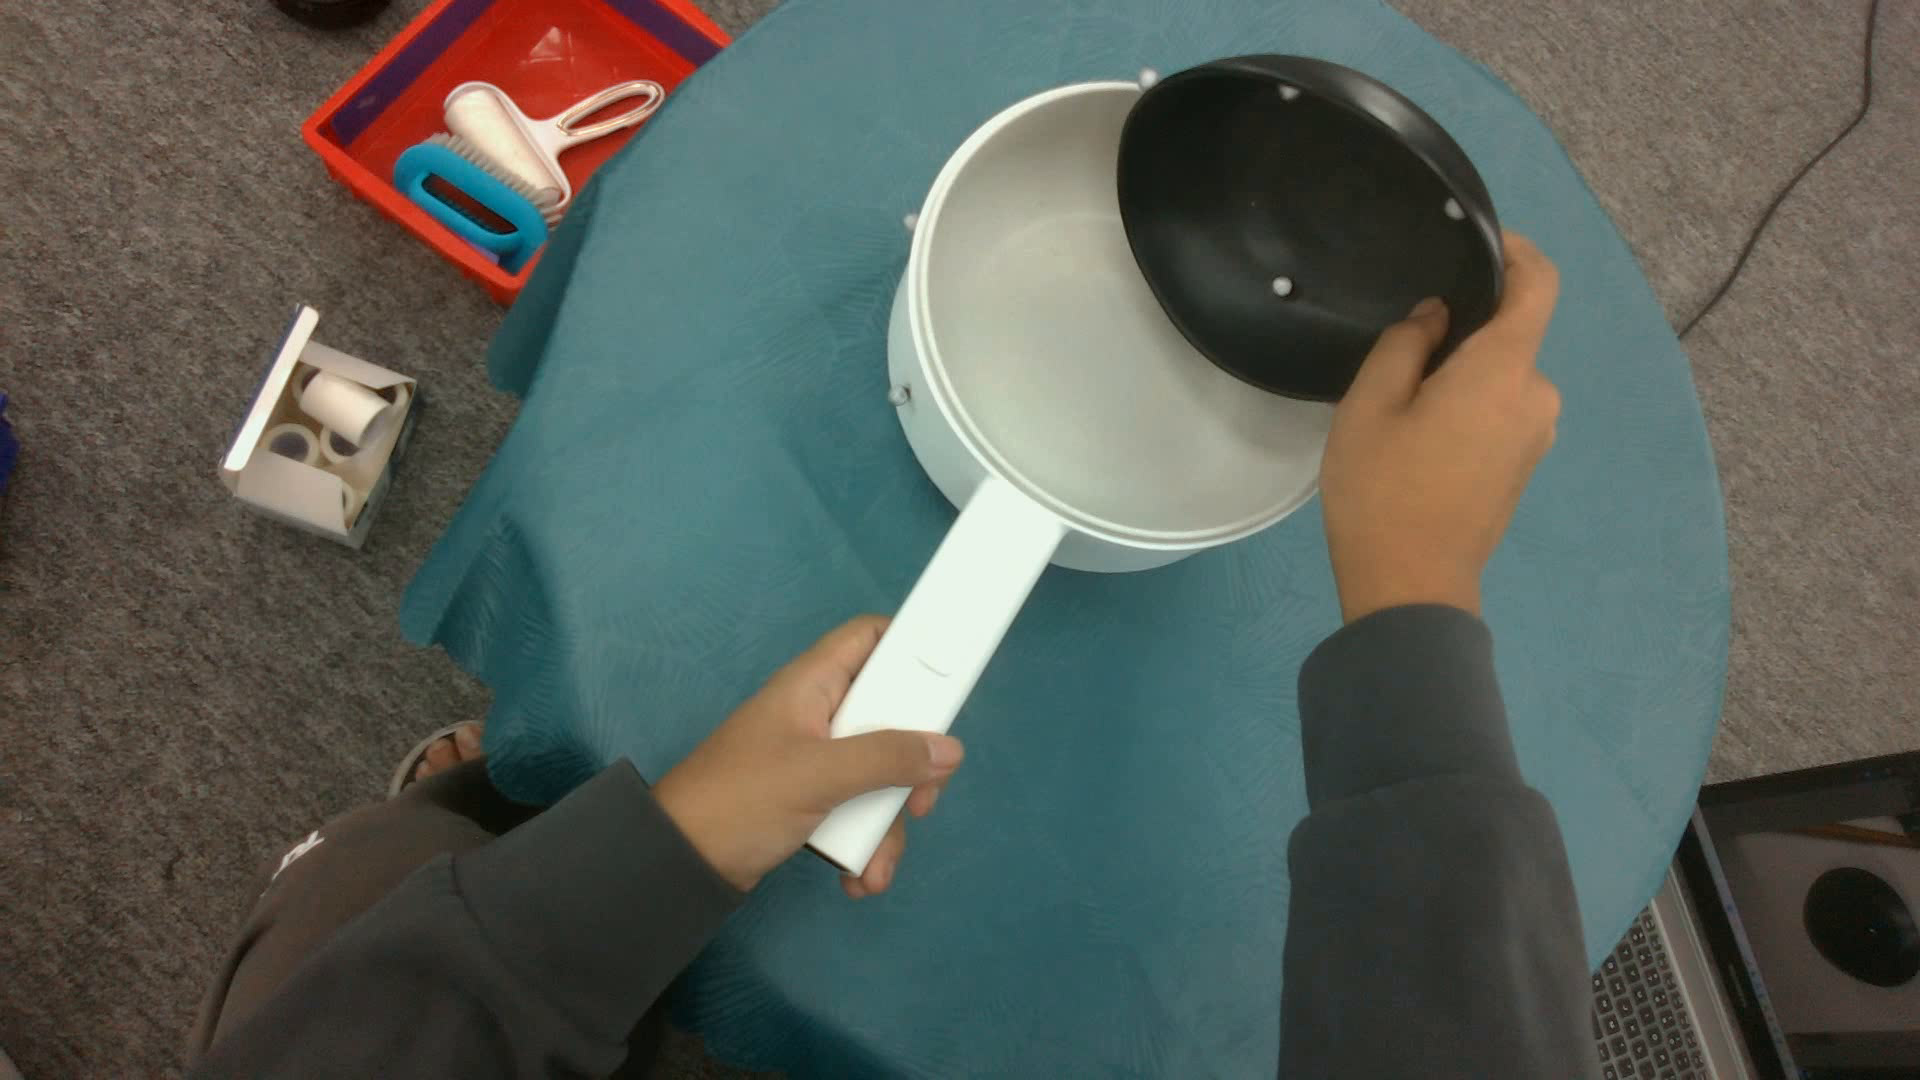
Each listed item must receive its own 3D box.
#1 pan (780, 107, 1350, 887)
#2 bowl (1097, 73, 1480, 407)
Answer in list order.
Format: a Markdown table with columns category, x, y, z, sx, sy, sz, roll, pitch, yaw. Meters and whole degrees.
| category | x | y | z | sx | sy | sz | roll | pitch | yaw |
| --- | --- | --- | --- | --- | --- | --- | --- | --- | --- |
| pan | 0.028 | -0.018 | 0.601 | 0.201 | 0.102 | 0.356 | 31 | 74 | -6 |
| bowl | 0.135 | -0.128 | 0.550 | 0.067 | 0.170 | 0.137 | -39 | 131 | -27 |
